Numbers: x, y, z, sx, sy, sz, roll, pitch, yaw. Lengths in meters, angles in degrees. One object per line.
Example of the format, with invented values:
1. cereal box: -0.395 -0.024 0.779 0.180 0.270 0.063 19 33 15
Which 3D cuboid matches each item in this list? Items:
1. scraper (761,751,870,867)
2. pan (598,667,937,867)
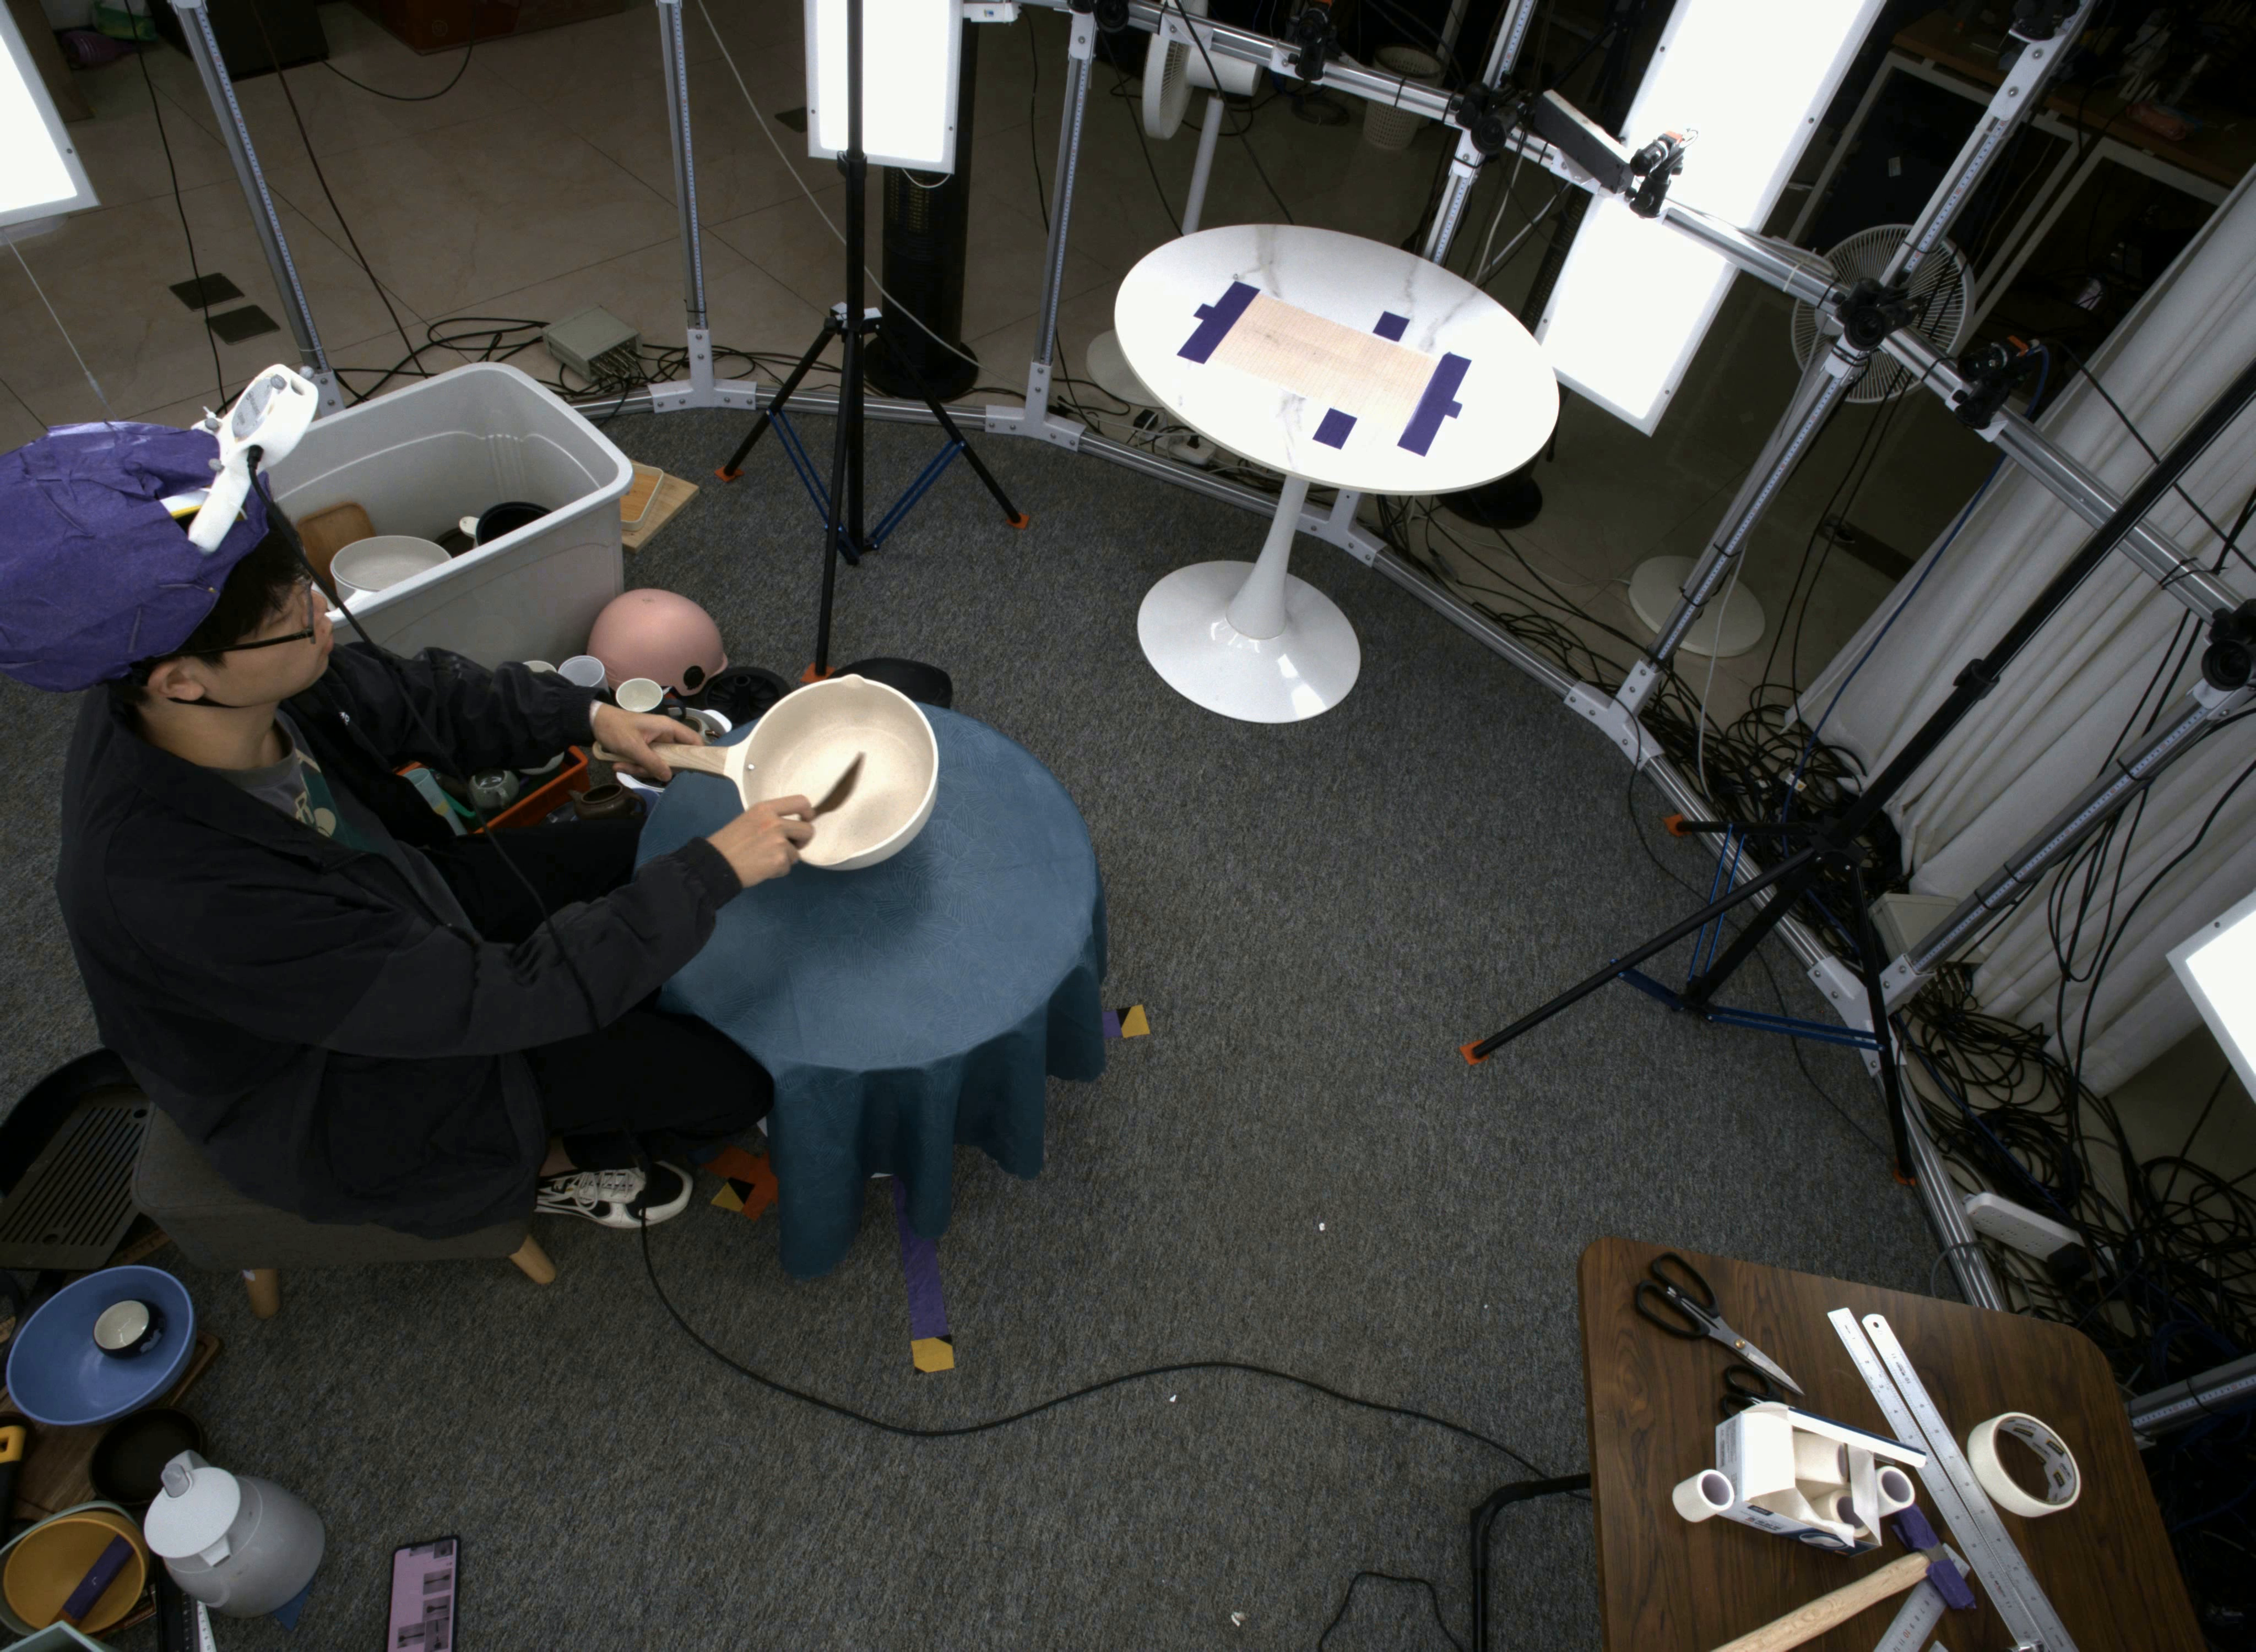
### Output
1. scraper: -0.372 -0.016 1.557 0.011 0.077 0.210 33 43 6
2. pan: -0.451 -0.070 1.639 0.429 0.104 0.262 2 70 1
